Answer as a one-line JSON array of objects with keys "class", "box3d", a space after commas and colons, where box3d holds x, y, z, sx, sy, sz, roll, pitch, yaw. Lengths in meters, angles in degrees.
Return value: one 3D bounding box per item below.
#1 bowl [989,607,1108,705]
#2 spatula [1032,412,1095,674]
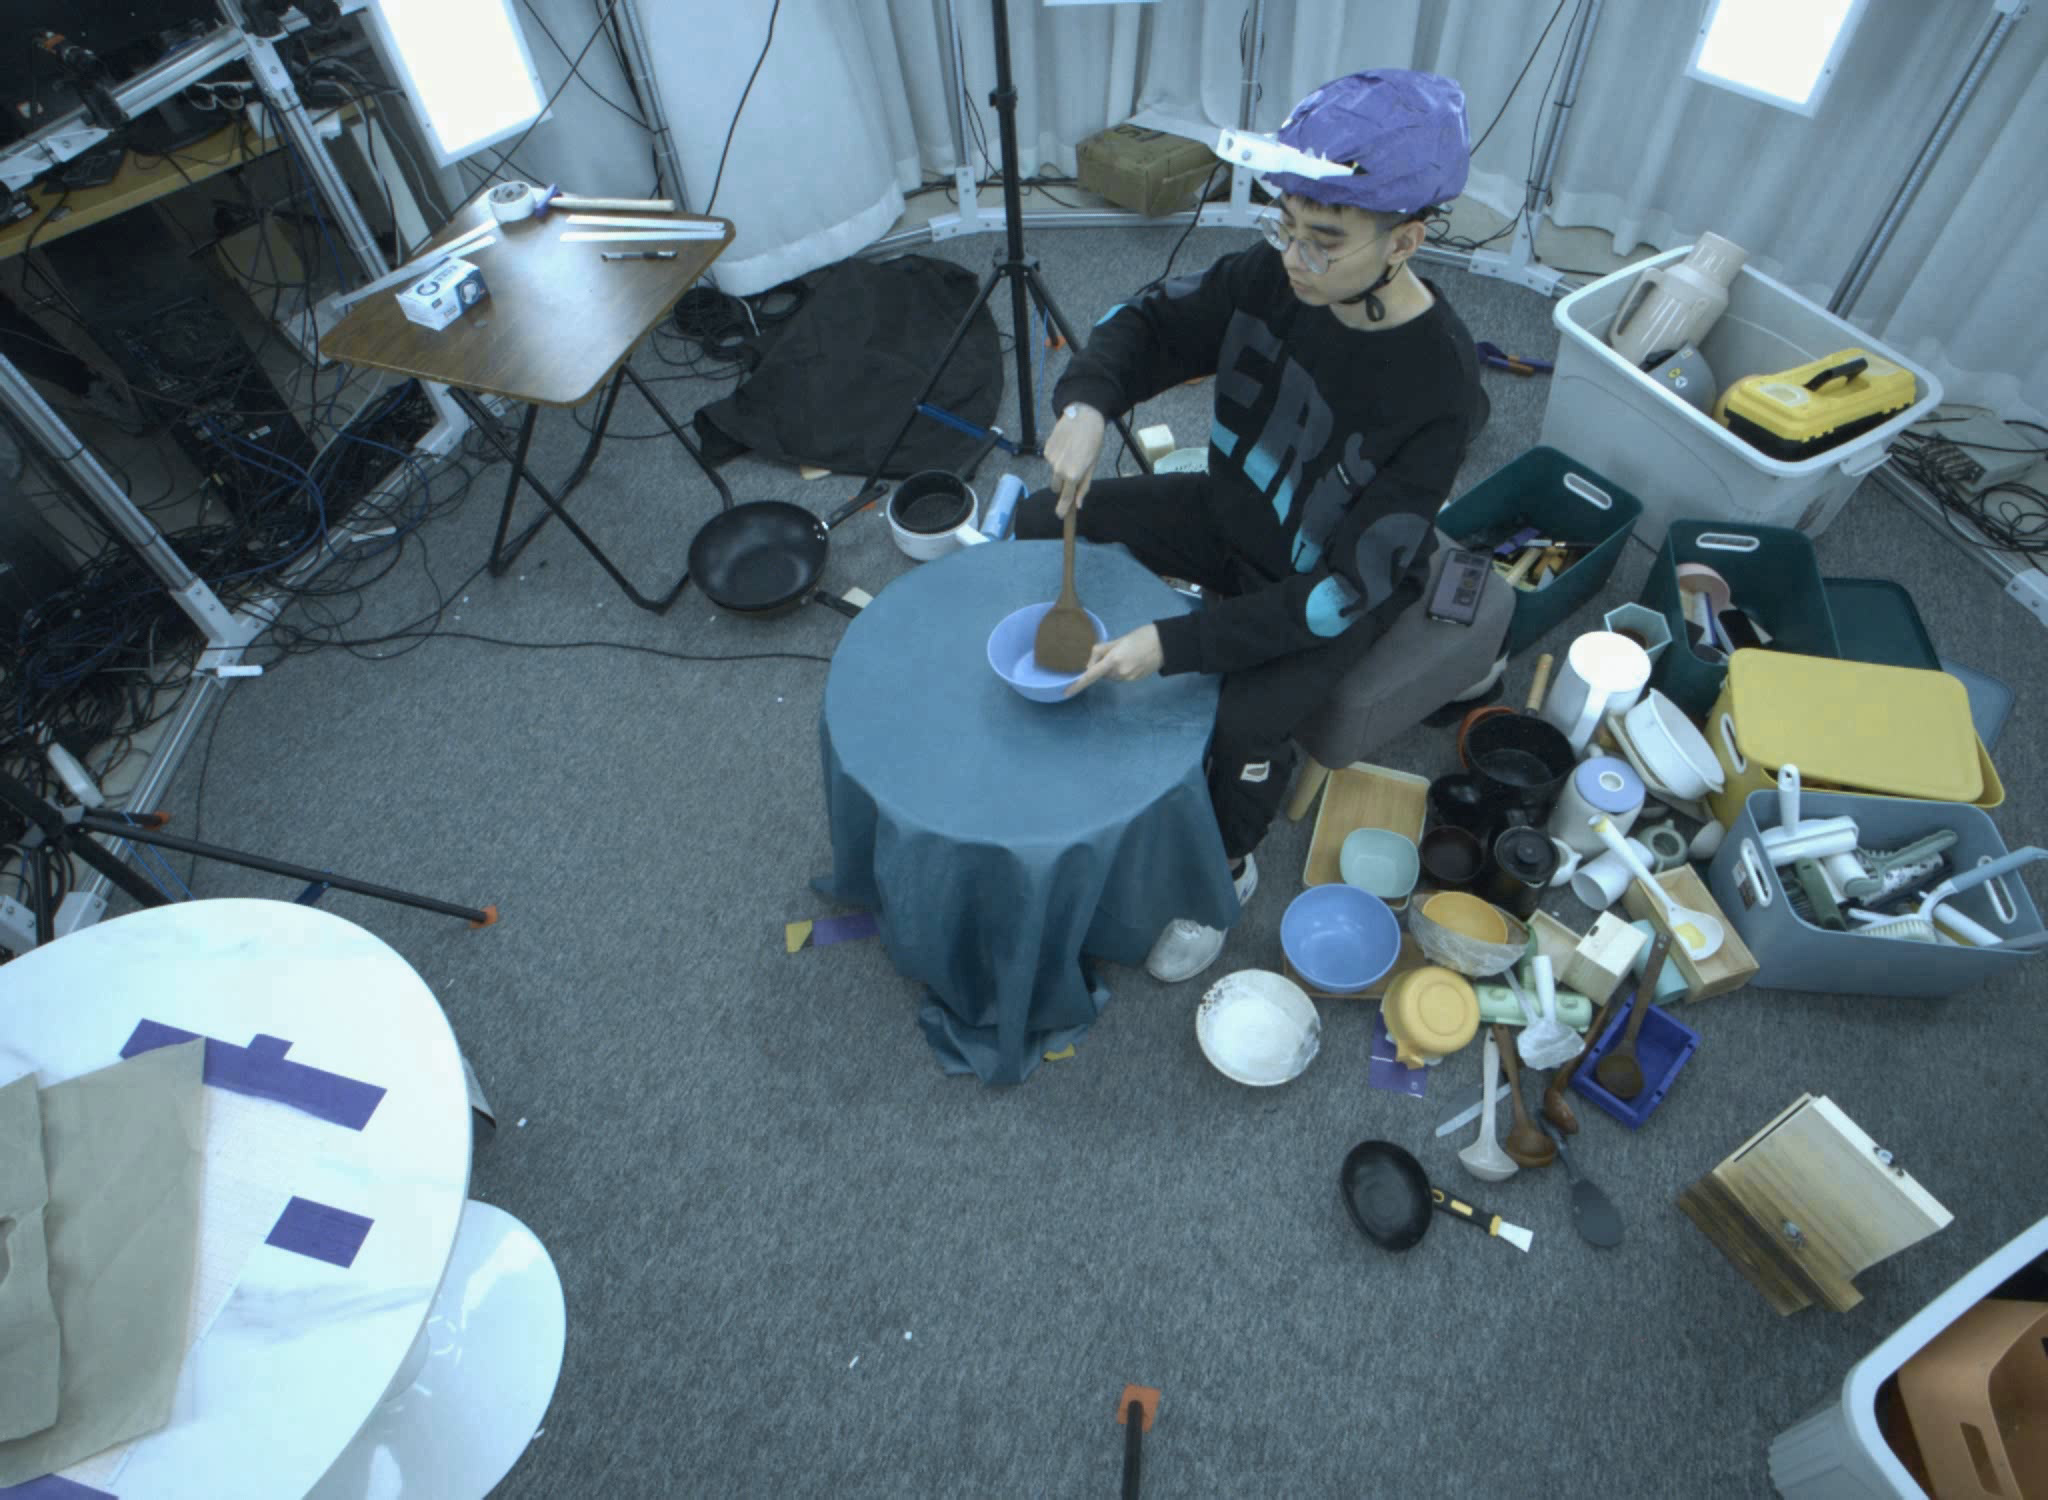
[{"class": "bowl", "box3d": [0.038, -0.131, 1.827, 0.175, 0.071, 0.174, -2, 50, 4]}, {"class": "spatula", "box3d": [0.065, -0.303, 1.793, 0.095, 0.387, 0.016, 6, 12, 15]}]
